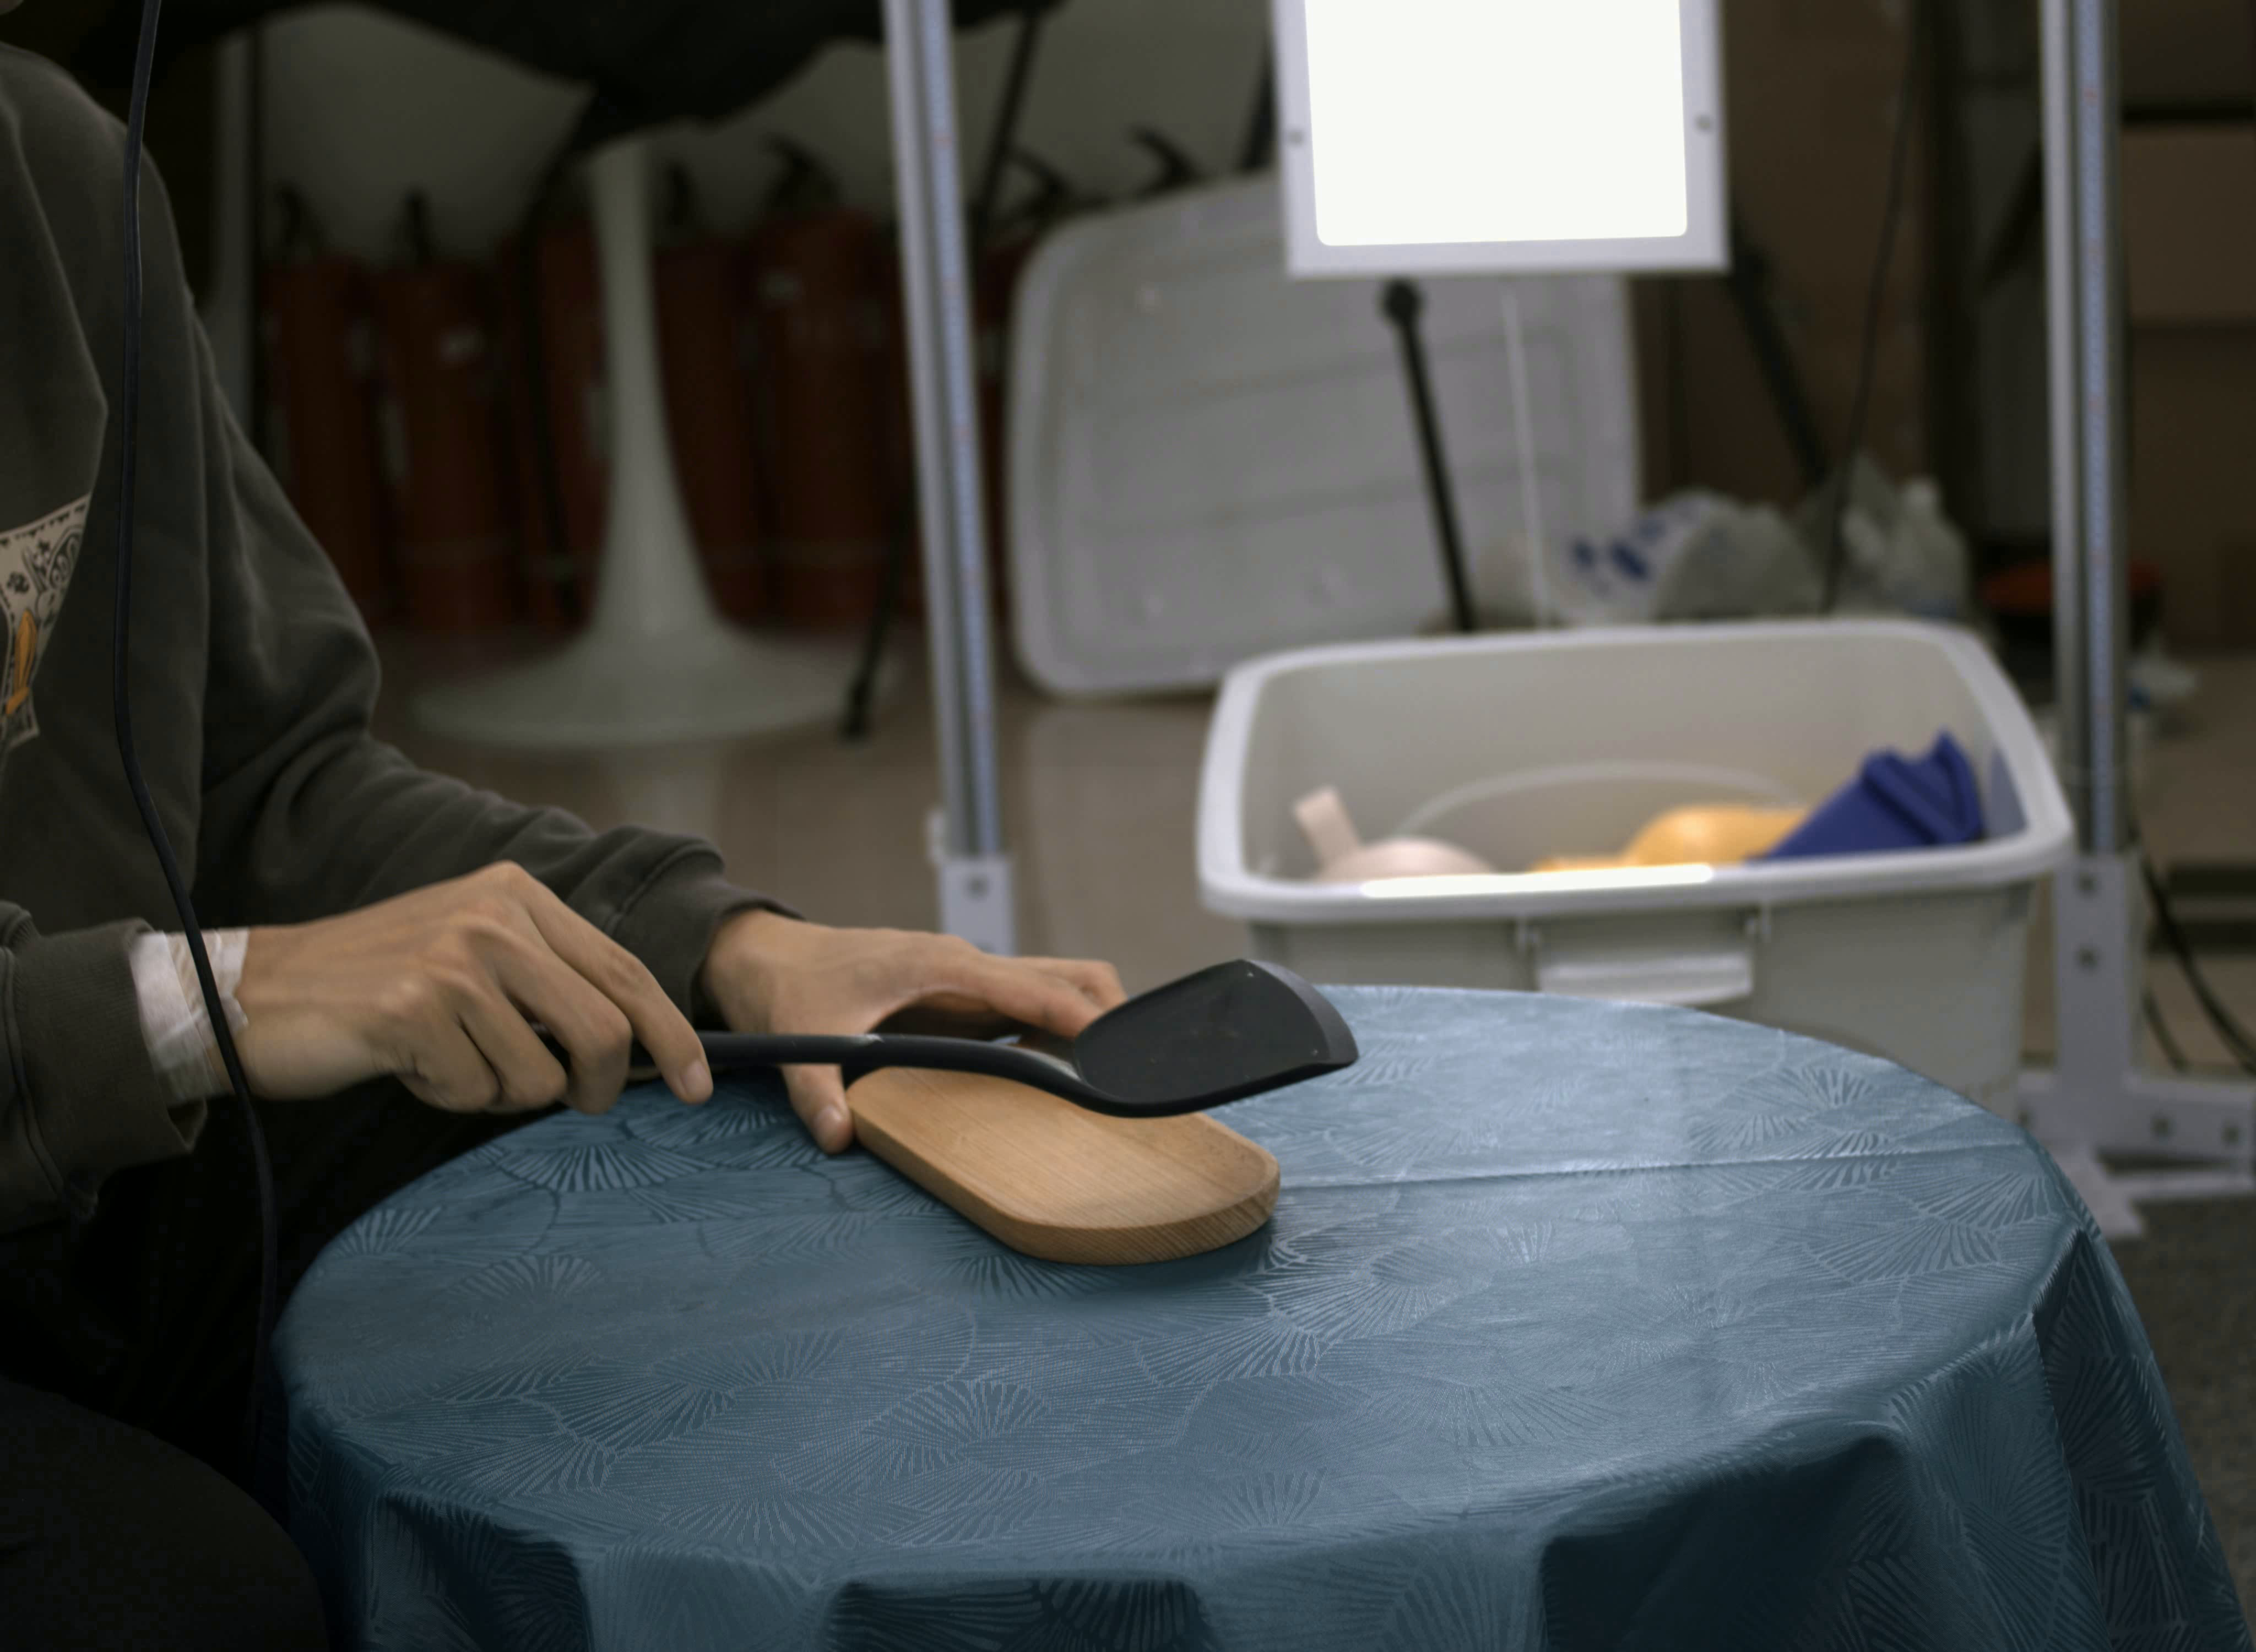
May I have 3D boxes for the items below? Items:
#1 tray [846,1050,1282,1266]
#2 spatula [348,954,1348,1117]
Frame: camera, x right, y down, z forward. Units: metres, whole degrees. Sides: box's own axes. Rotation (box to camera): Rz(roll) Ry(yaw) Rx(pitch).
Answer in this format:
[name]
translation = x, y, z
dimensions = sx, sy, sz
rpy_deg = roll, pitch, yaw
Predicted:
[tray]
translation = -0.024, 0.114, 1.921
dimensions = 0.100, 0.020, 0.234
rpy_deg = -12, 17, -21
[spatula]
translation = -0.091, 0.065, 1.794
dimensions = 0.321, 0.040, 0.100
rpy_deg = 5, 17, -16
